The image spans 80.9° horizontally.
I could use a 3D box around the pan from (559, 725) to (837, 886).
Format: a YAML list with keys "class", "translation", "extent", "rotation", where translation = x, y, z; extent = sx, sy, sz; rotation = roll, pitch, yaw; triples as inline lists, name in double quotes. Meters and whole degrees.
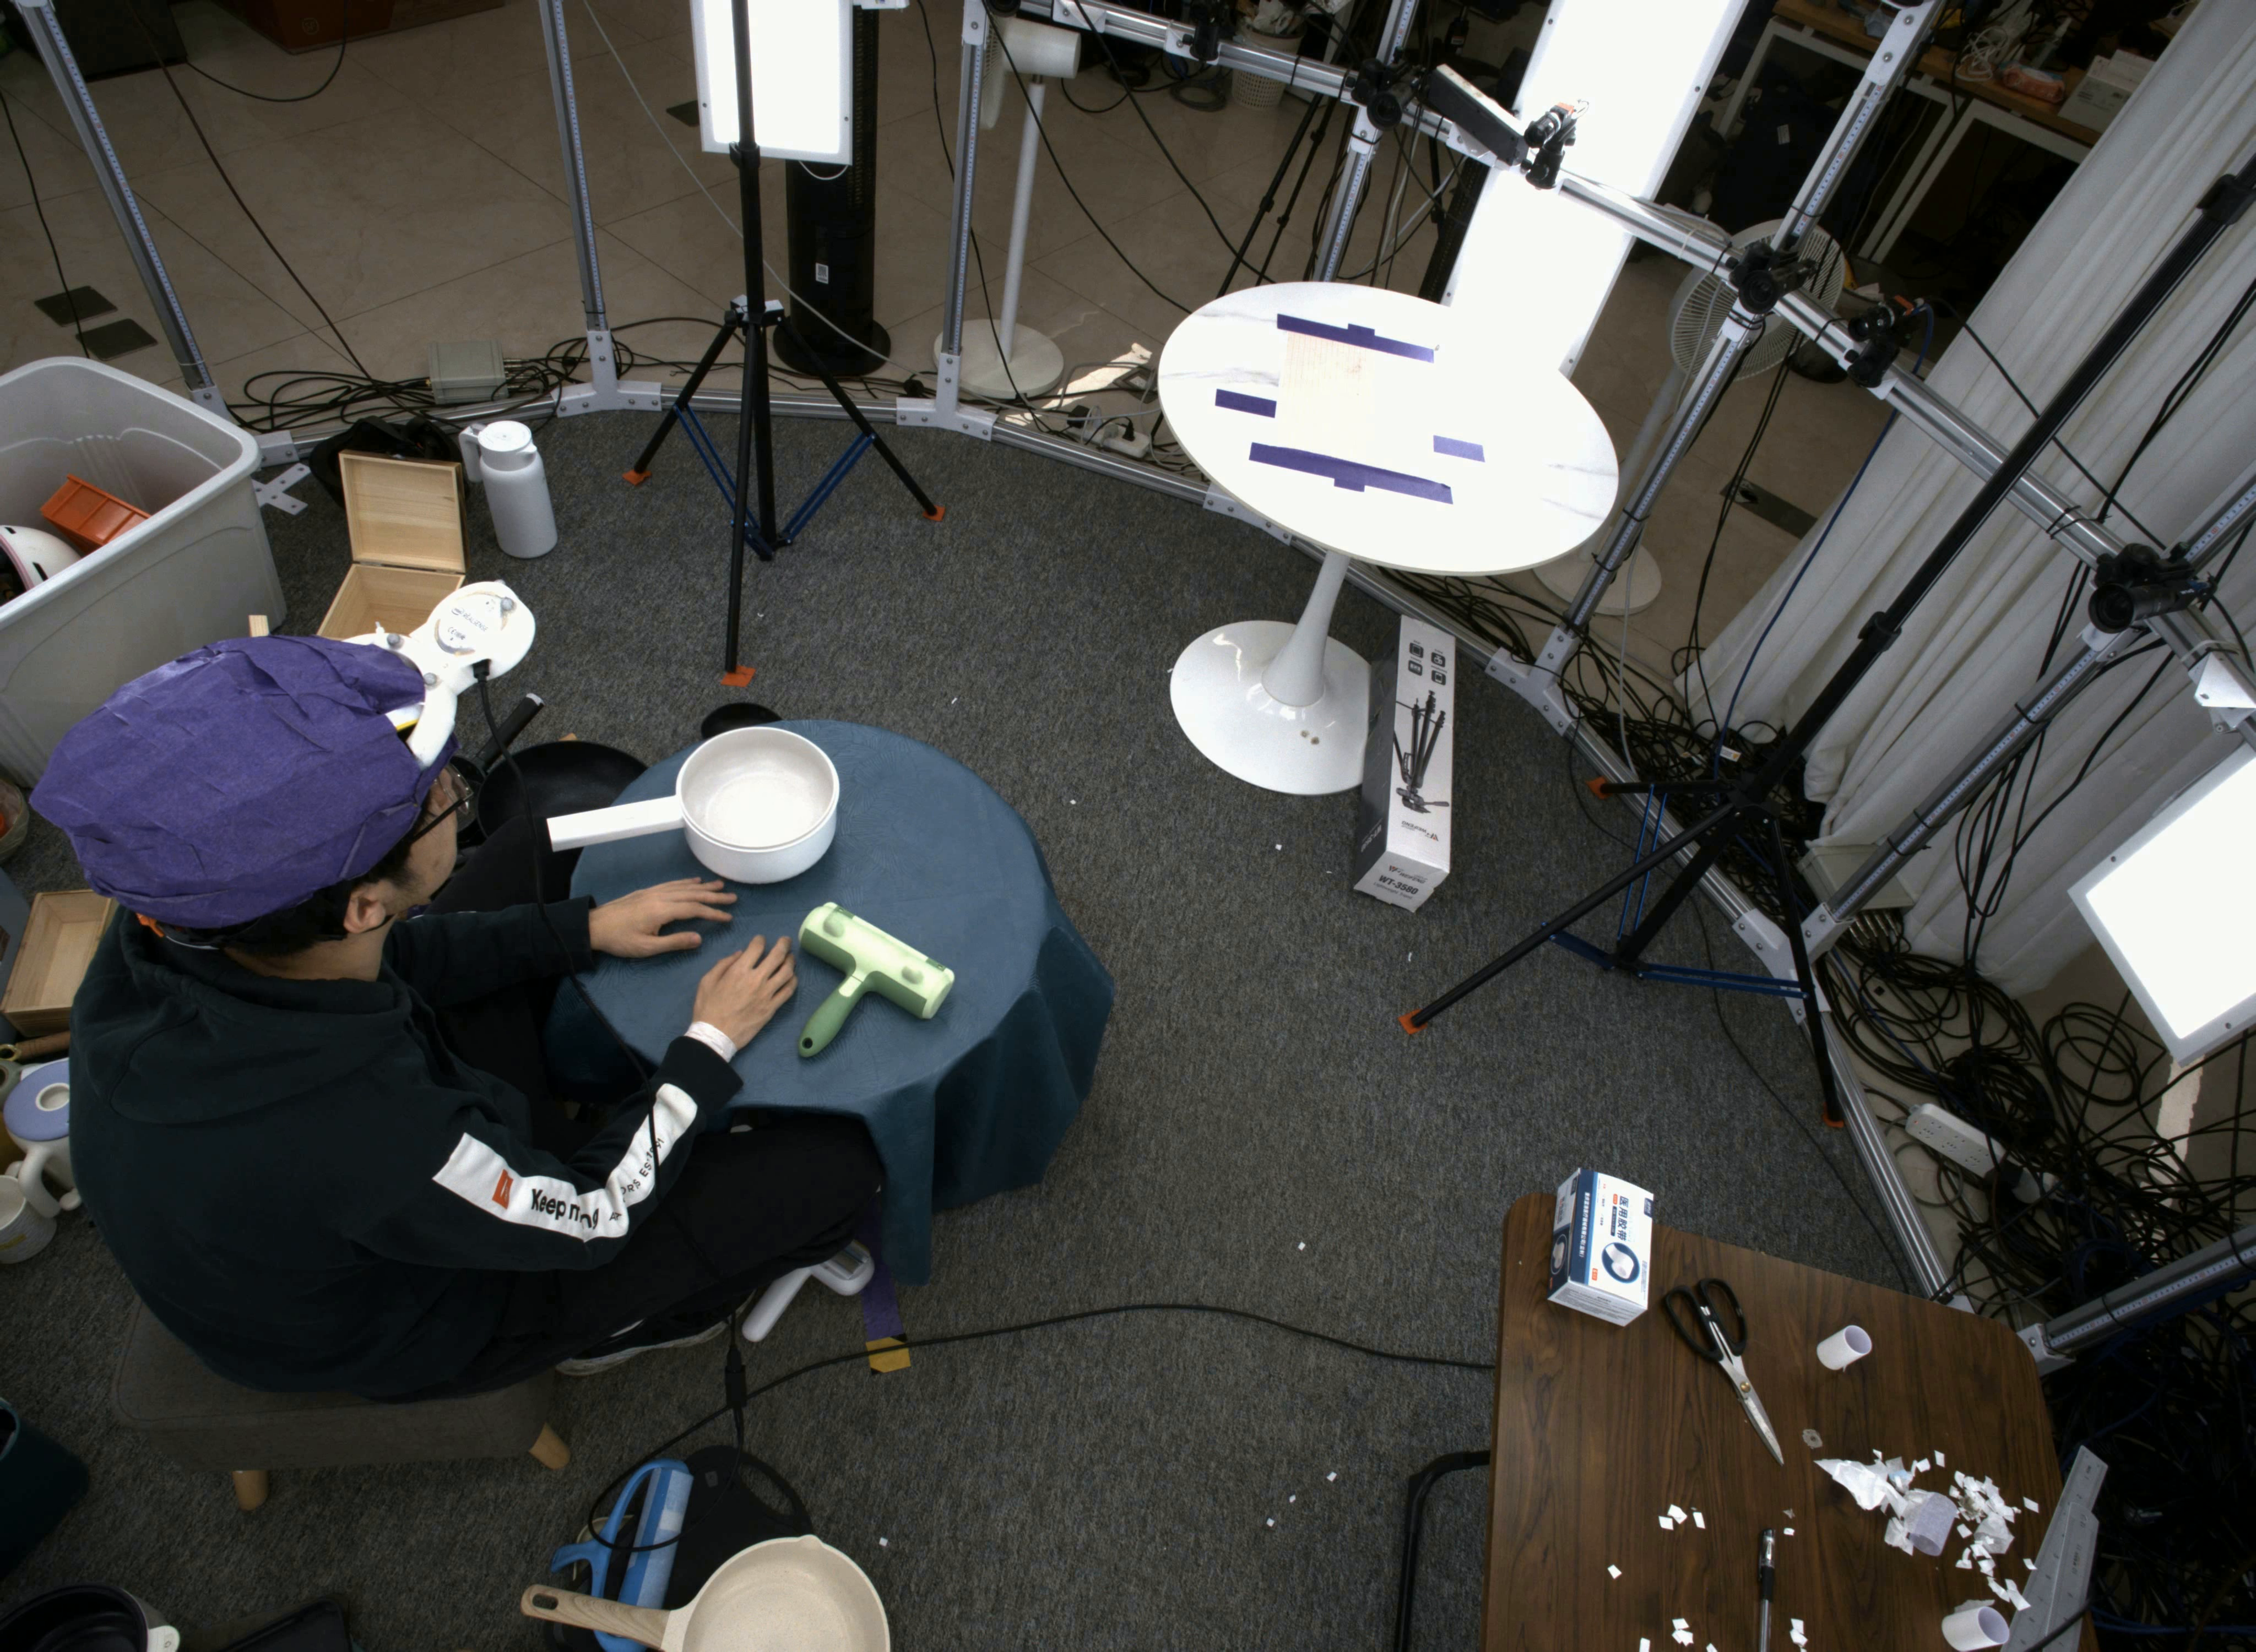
- class: "pan"
  translation: [-0.546, -0.006, 1.640]
  extent: [0.356, 0.104, 0.196]
  rotation: [-13, 59, -22]

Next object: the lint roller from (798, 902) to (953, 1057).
- class: "lint roller"
  translation: [-0.337, 0.192, 1.562]
  extent: [0.195, 0.084, 0.182]
  rotation: [29, 47, 8]
